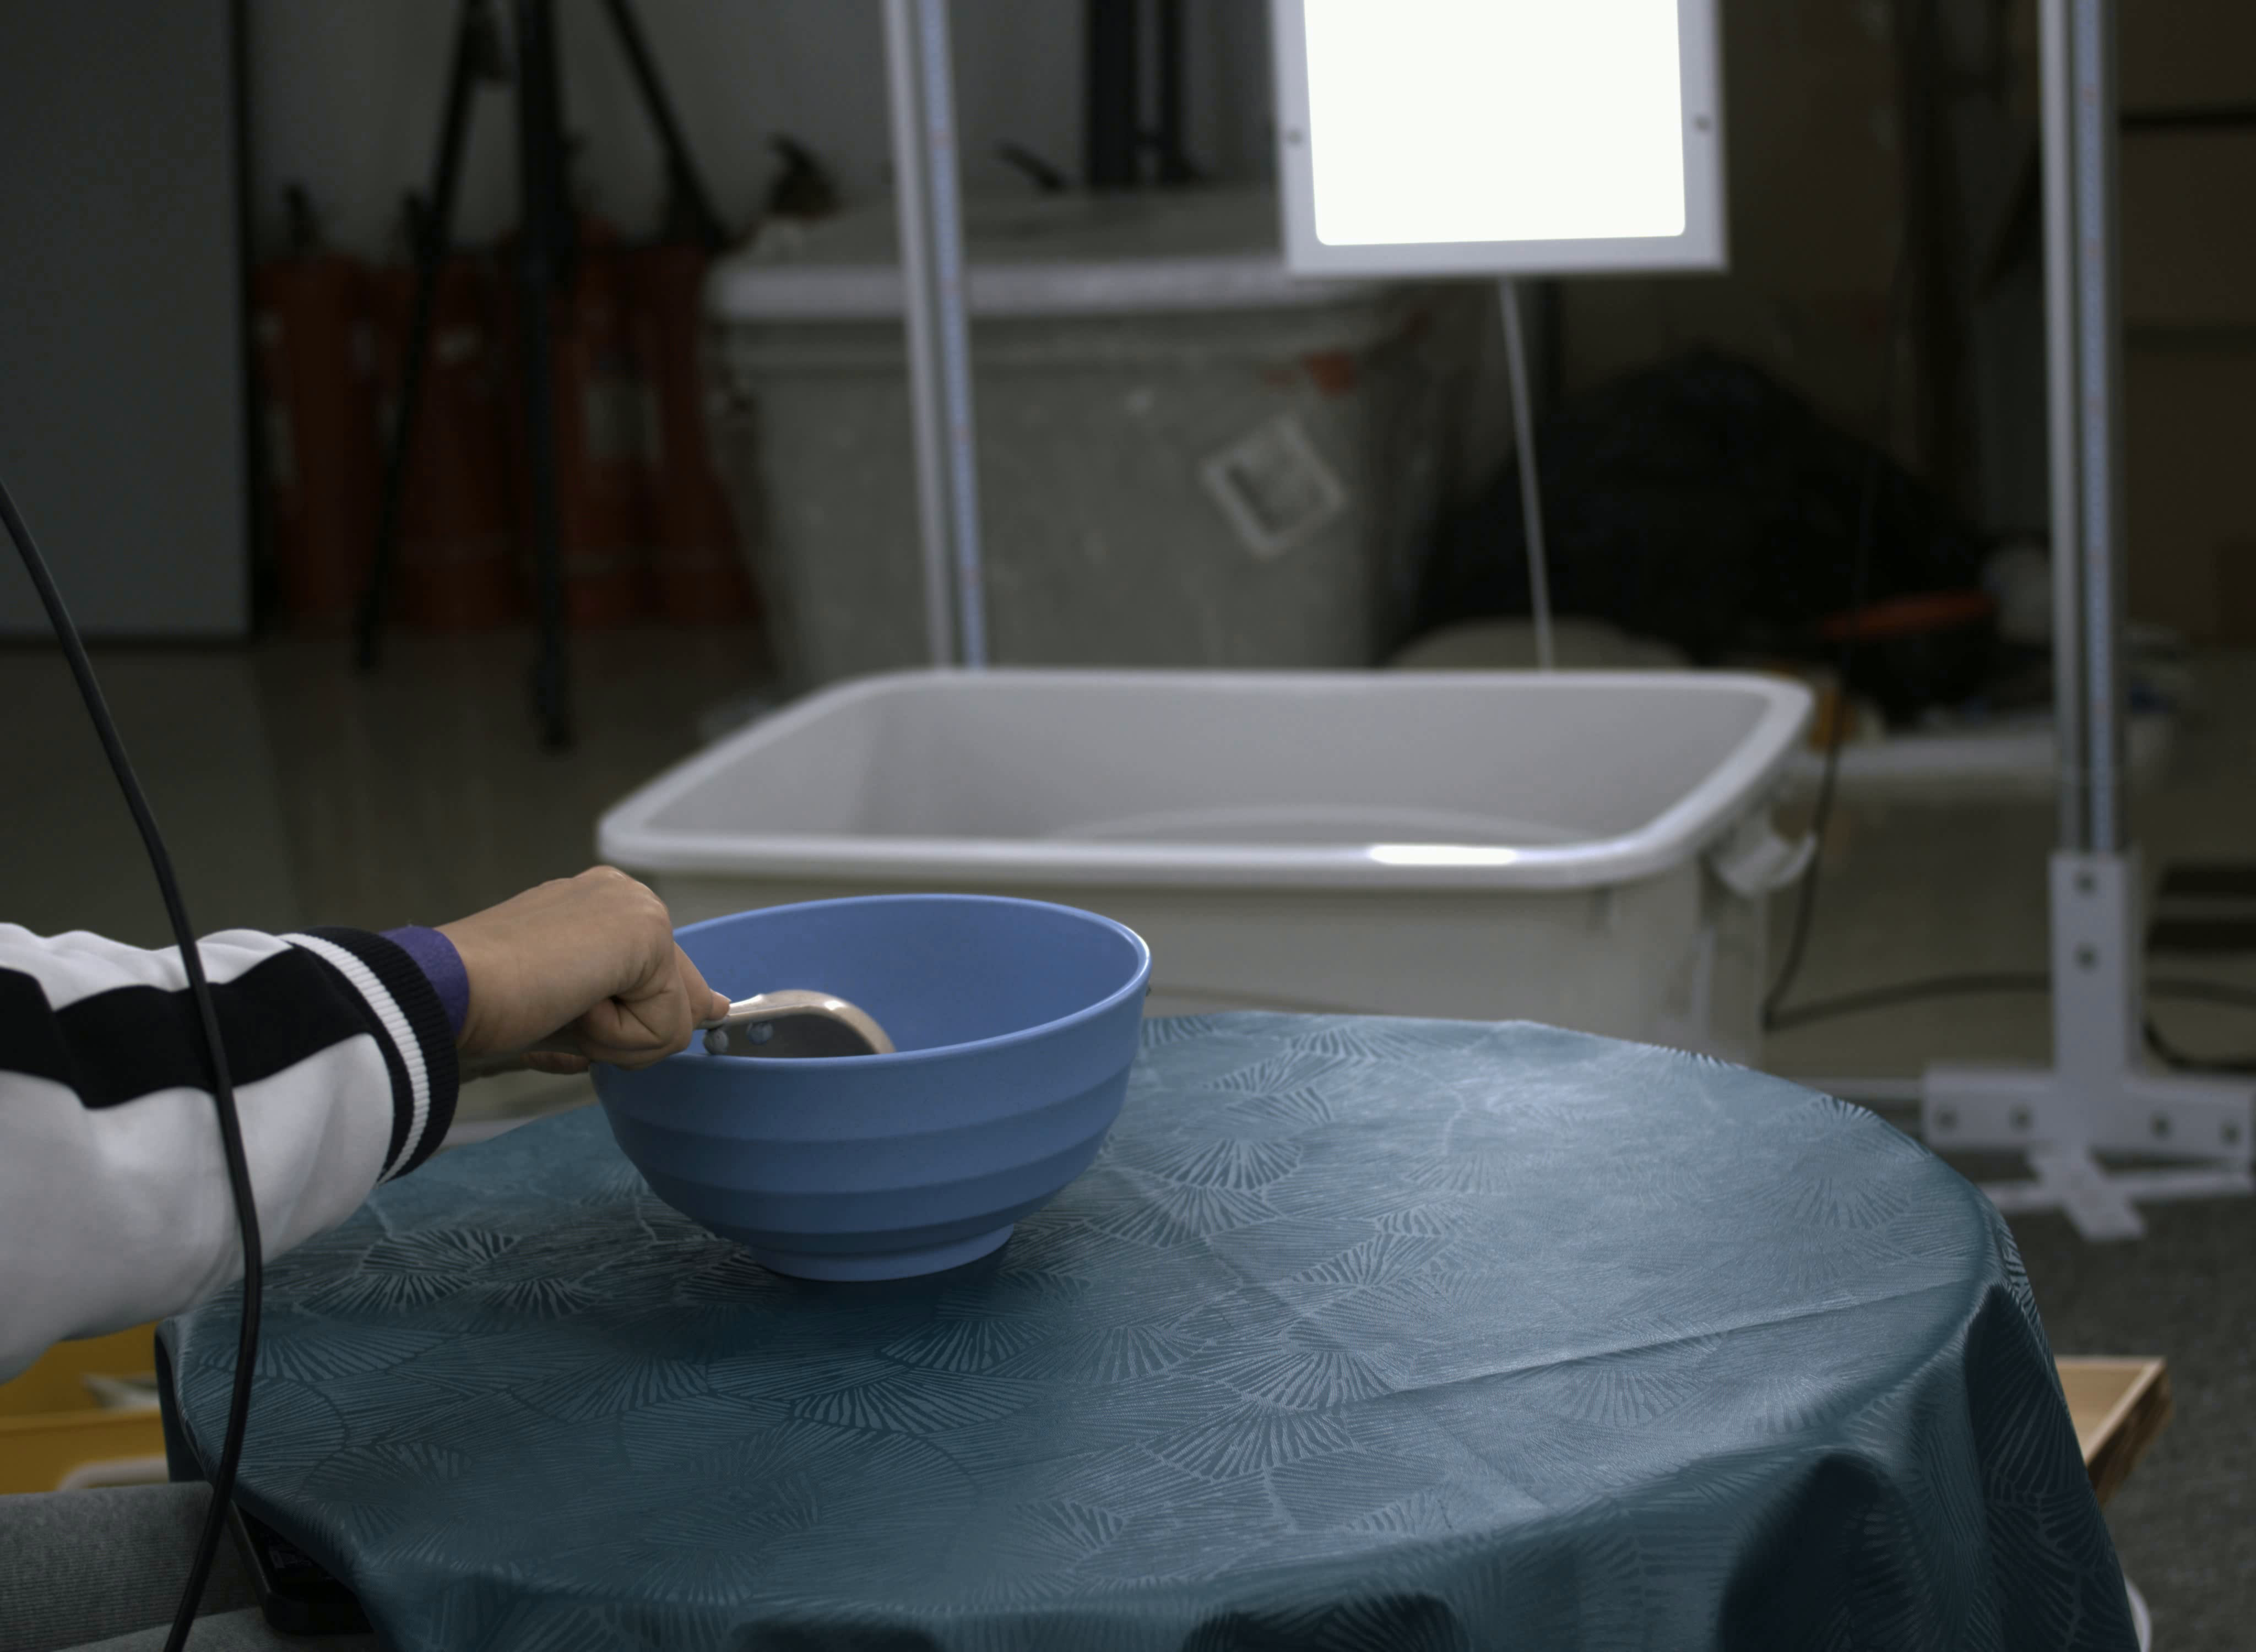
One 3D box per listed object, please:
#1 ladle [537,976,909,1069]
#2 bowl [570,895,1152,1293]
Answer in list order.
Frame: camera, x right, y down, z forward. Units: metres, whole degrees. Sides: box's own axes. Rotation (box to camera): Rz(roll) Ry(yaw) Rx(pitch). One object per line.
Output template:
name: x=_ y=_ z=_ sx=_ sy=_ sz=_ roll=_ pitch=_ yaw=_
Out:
ladle: x=-0.139 y=0.087 z=1.780 sx=0.073 sy=0.073 sz=0.250 roll=11 pitch=1 yaw=19
bowl: x=-0.087 y=0.097 z=1.861 sx=0.196 sy=0.096 sz=0.196 roll=-4 pitch=16 yaw=0
